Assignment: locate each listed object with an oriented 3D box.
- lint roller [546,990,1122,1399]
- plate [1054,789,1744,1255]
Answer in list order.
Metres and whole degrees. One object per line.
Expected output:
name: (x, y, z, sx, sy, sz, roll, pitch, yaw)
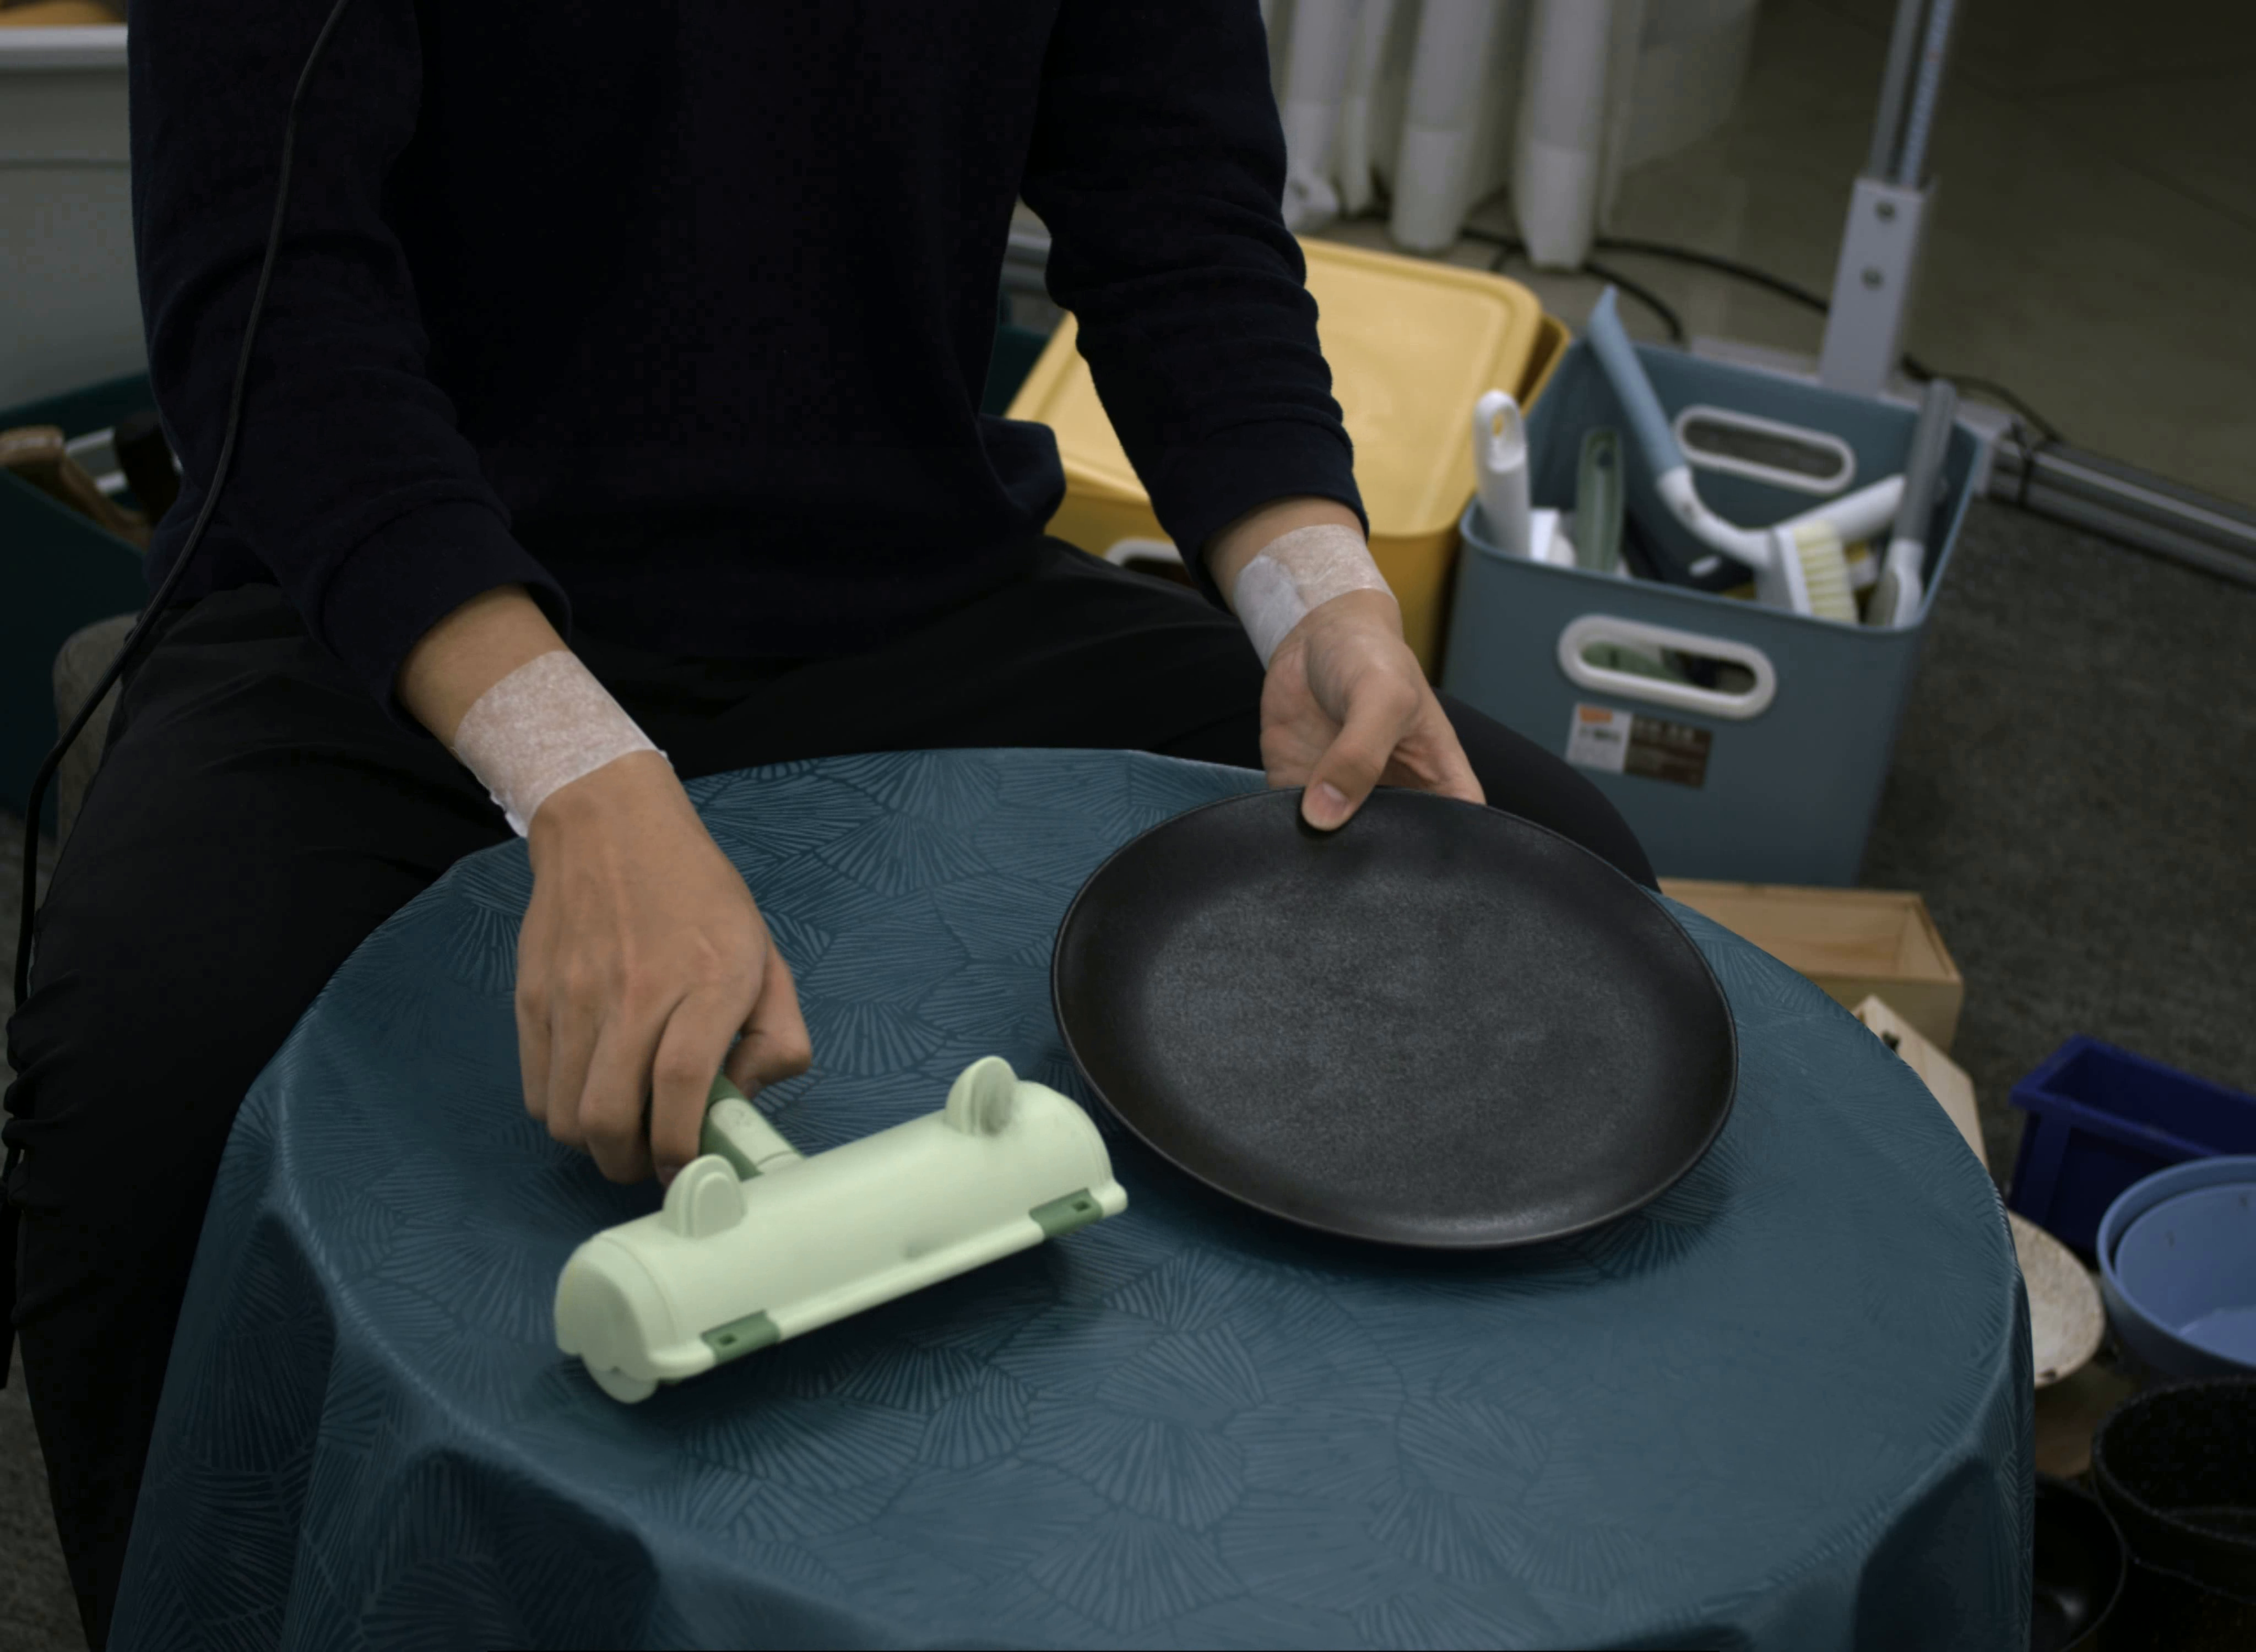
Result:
lint roller: (-0.126, 0.092, 1.726, 0.197, 0.082, 0.185, -18, 50, -40)
plate: (0.094, 0.072, 1.861, 0.243, 0.023, 0.246, 5, 39, -4)
